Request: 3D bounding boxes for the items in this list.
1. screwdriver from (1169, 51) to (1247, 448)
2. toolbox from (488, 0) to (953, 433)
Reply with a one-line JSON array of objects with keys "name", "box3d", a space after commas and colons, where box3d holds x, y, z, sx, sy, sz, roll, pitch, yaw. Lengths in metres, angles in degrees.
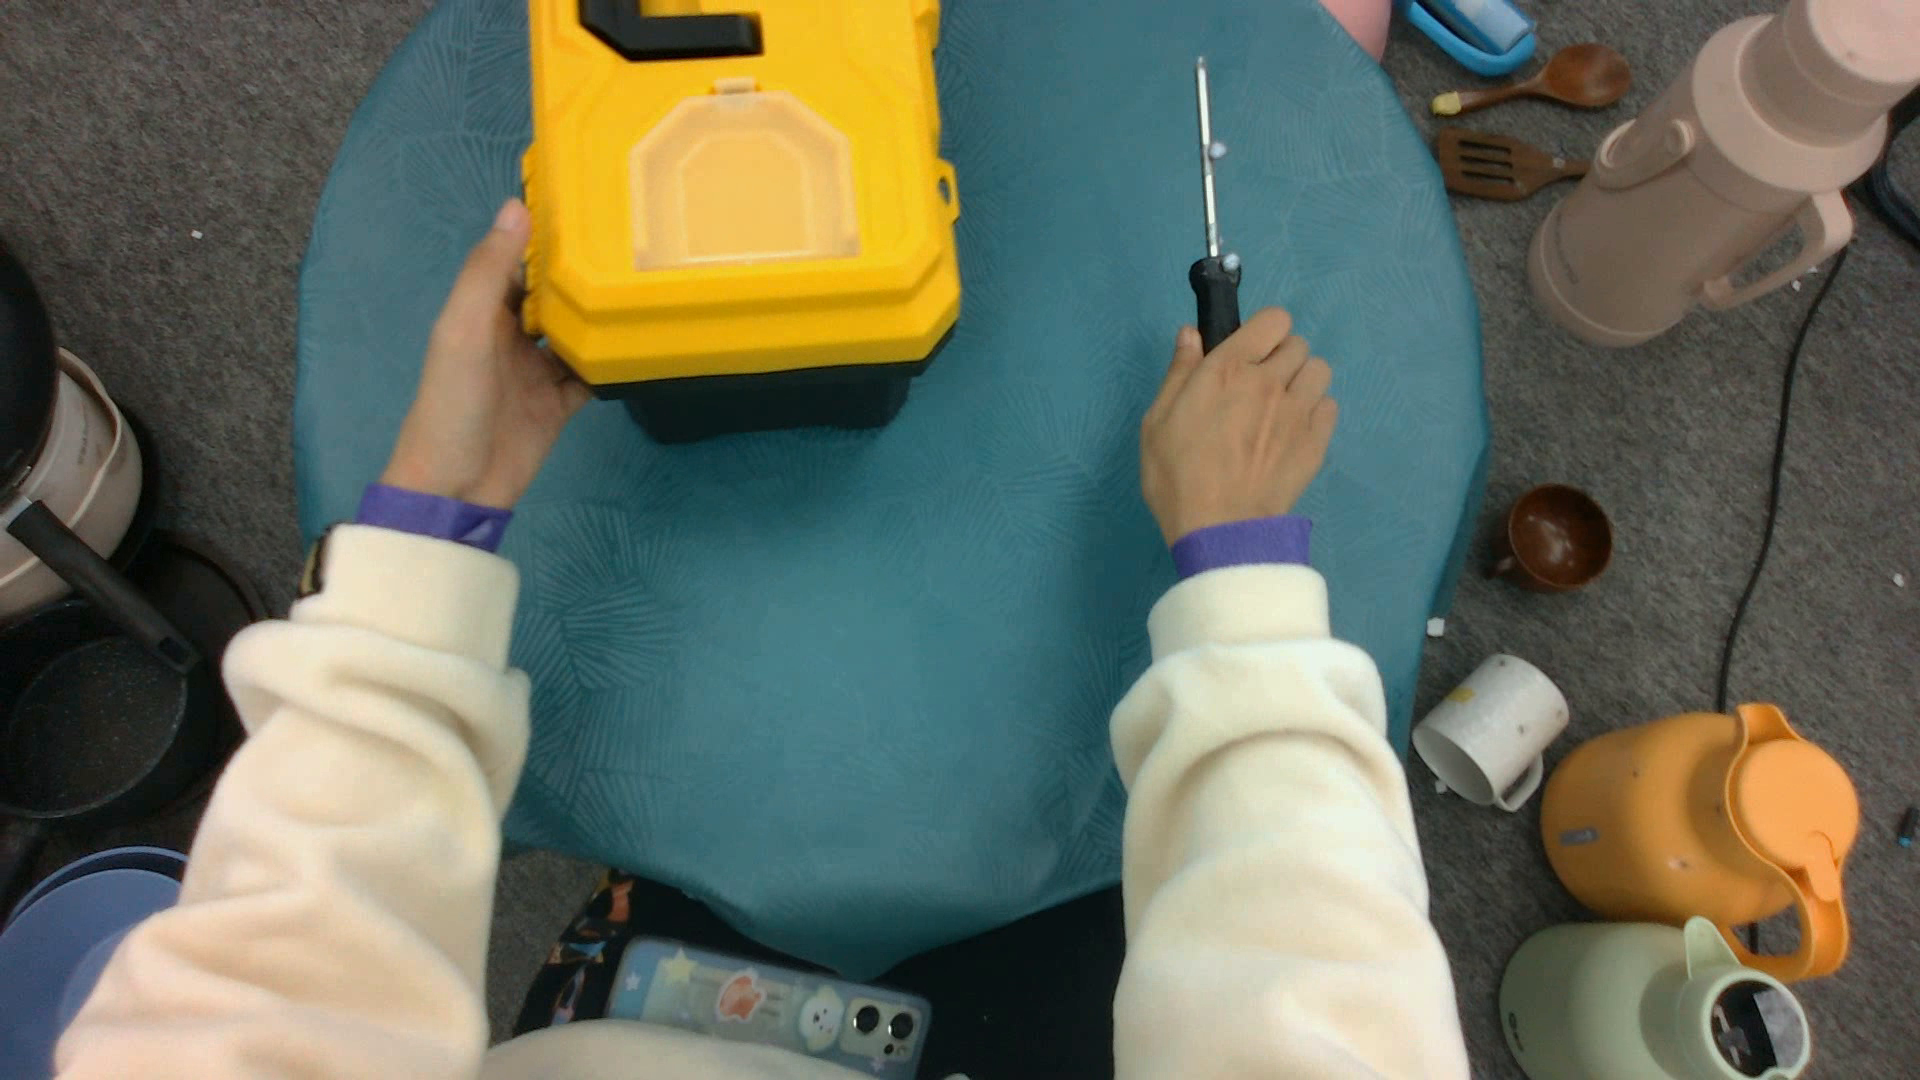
[{"name": "screwdriver", "box3d": [0.116, -0.141, 0.651, 0.031, 0.031, 0.196, -2, 84, -5]}, {"name": "toolbox", "box3d": [-0.113, -0.230, 0.637, 0.181, 0.172, 0.352, -5, 74, -7]}]
